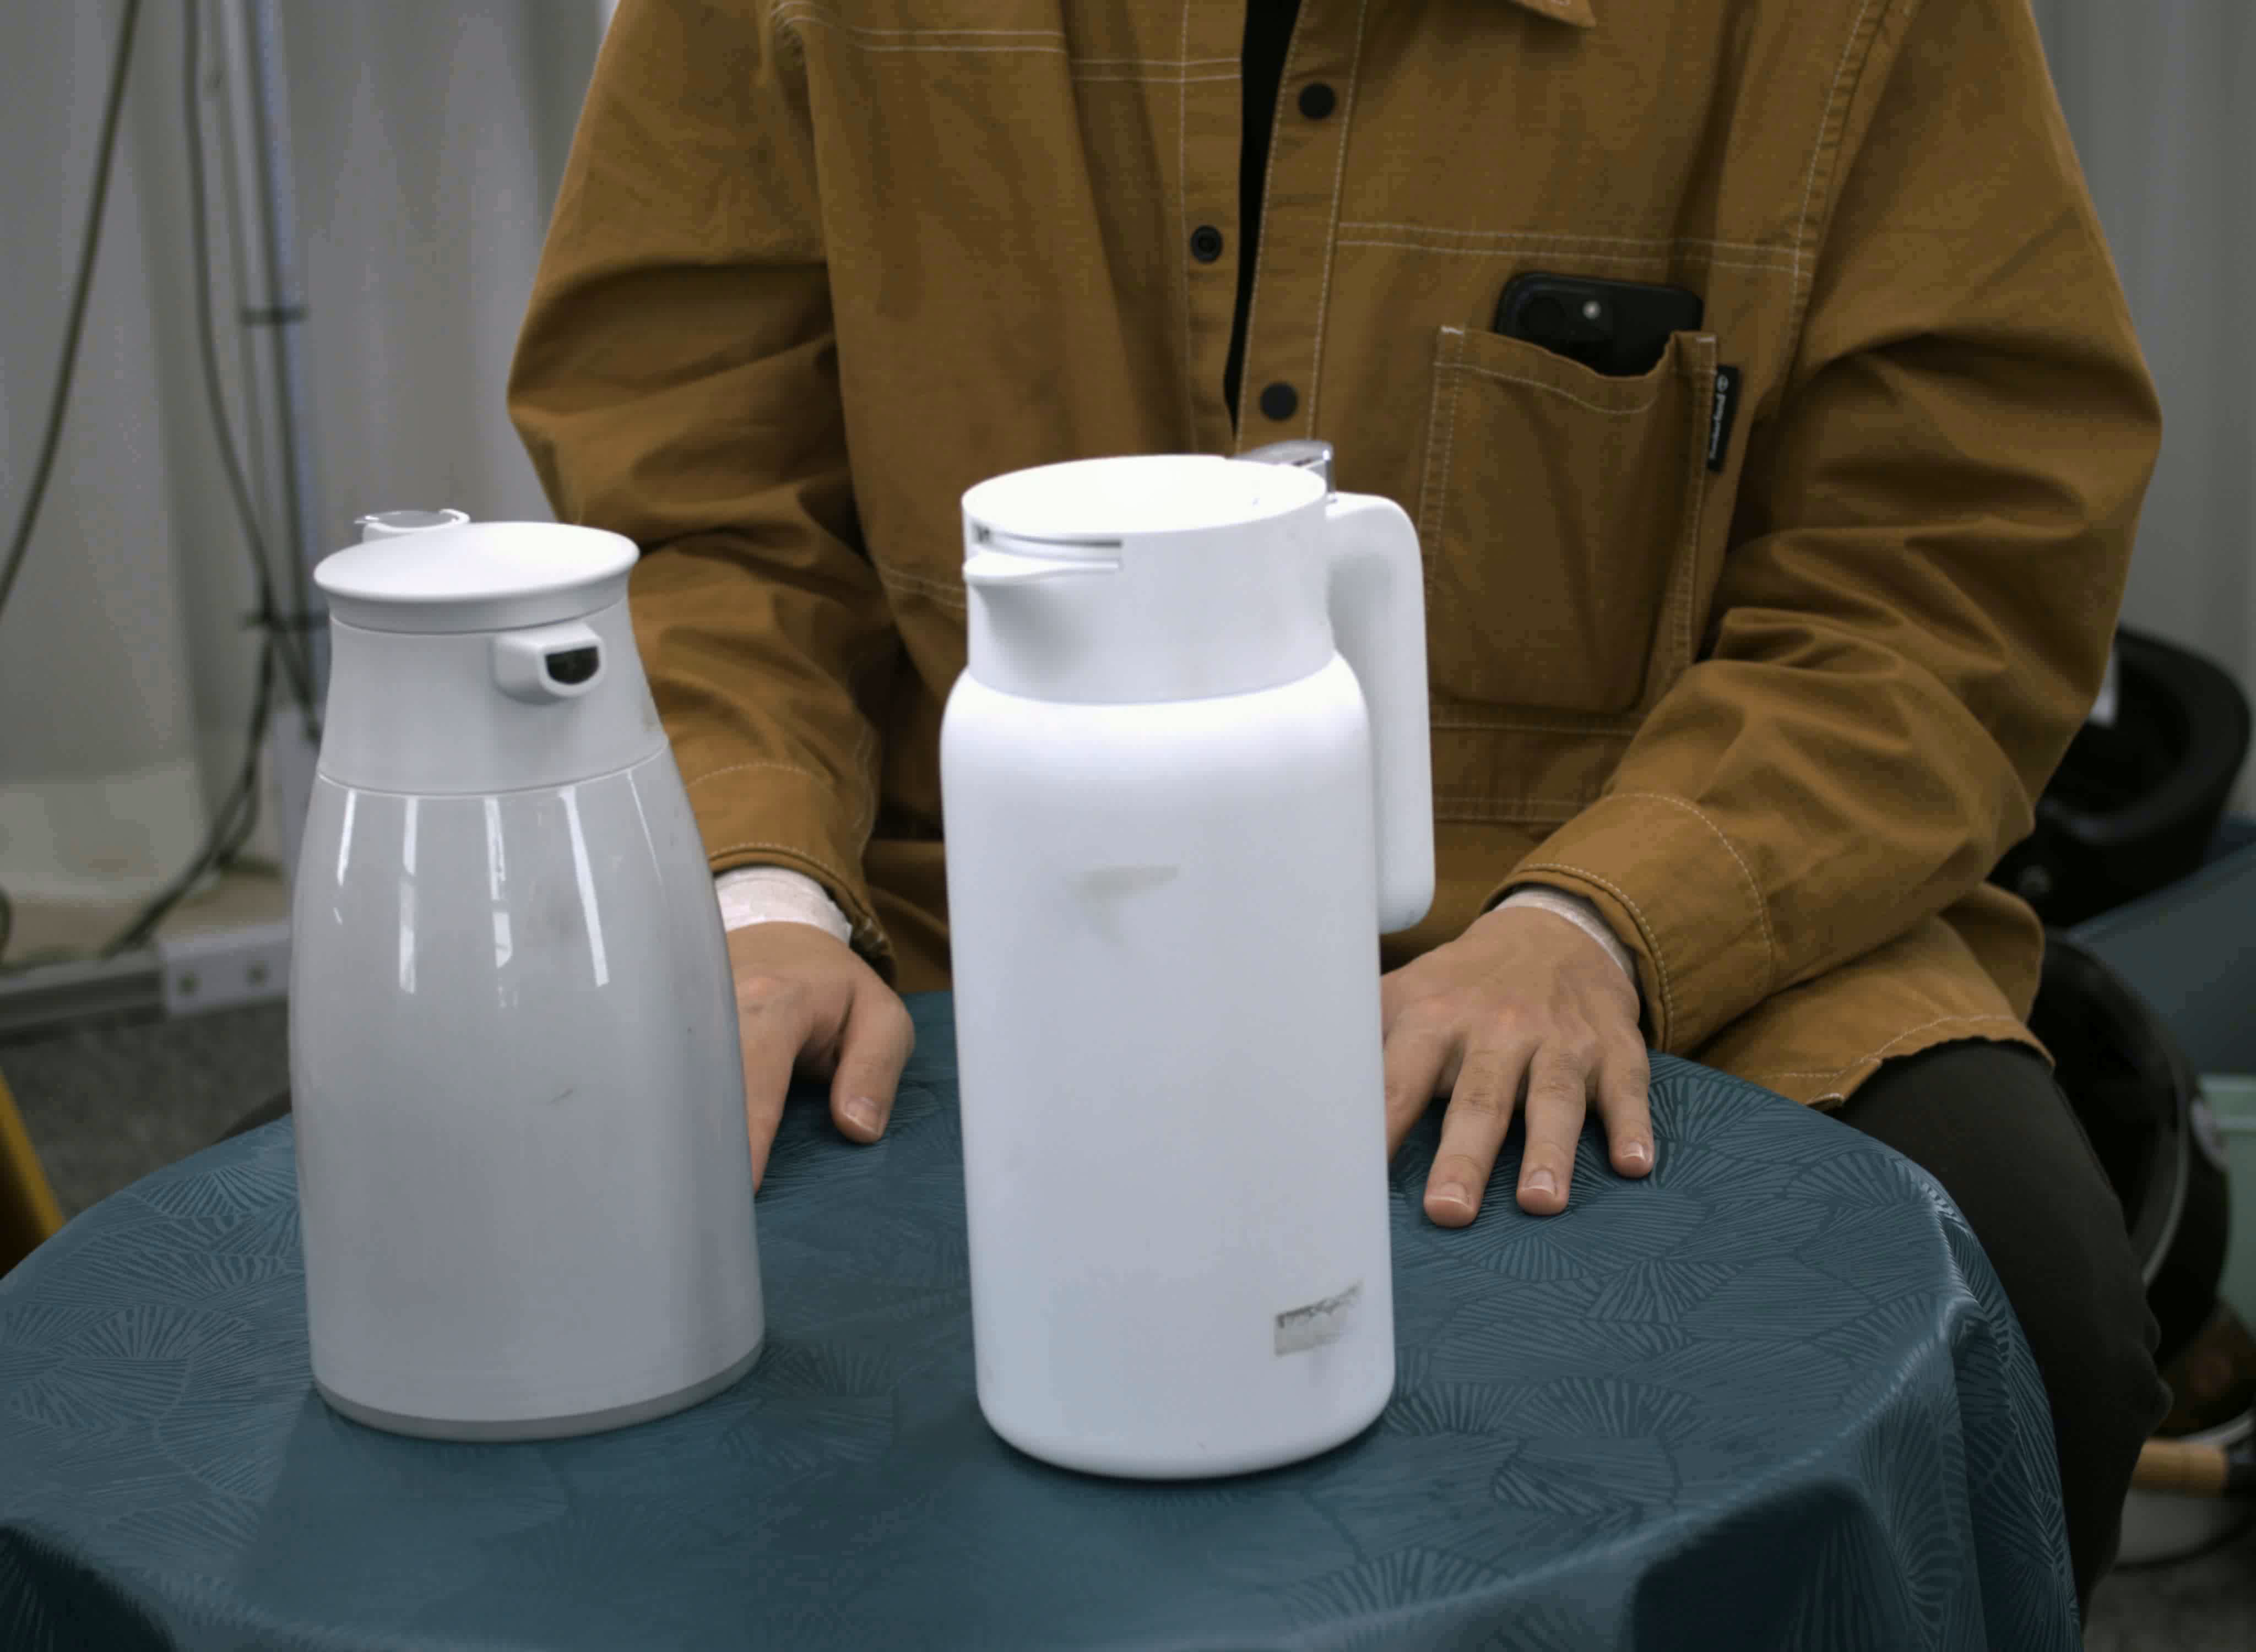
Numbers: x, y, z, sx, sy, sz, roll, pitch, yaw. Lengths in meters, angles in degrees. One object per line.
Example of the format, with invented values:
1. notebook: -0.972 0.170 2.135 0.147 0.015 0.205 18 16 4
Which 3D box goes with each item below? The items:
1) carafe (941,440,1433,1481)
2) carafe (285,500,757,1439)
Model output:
1. carafe: 0.021 0.032 1.505 0.124 0.268 0.172 6 16 39
2. carafe: -0.188 0.033 1.579 0.132 0.248 0.169 -10 15 -30
